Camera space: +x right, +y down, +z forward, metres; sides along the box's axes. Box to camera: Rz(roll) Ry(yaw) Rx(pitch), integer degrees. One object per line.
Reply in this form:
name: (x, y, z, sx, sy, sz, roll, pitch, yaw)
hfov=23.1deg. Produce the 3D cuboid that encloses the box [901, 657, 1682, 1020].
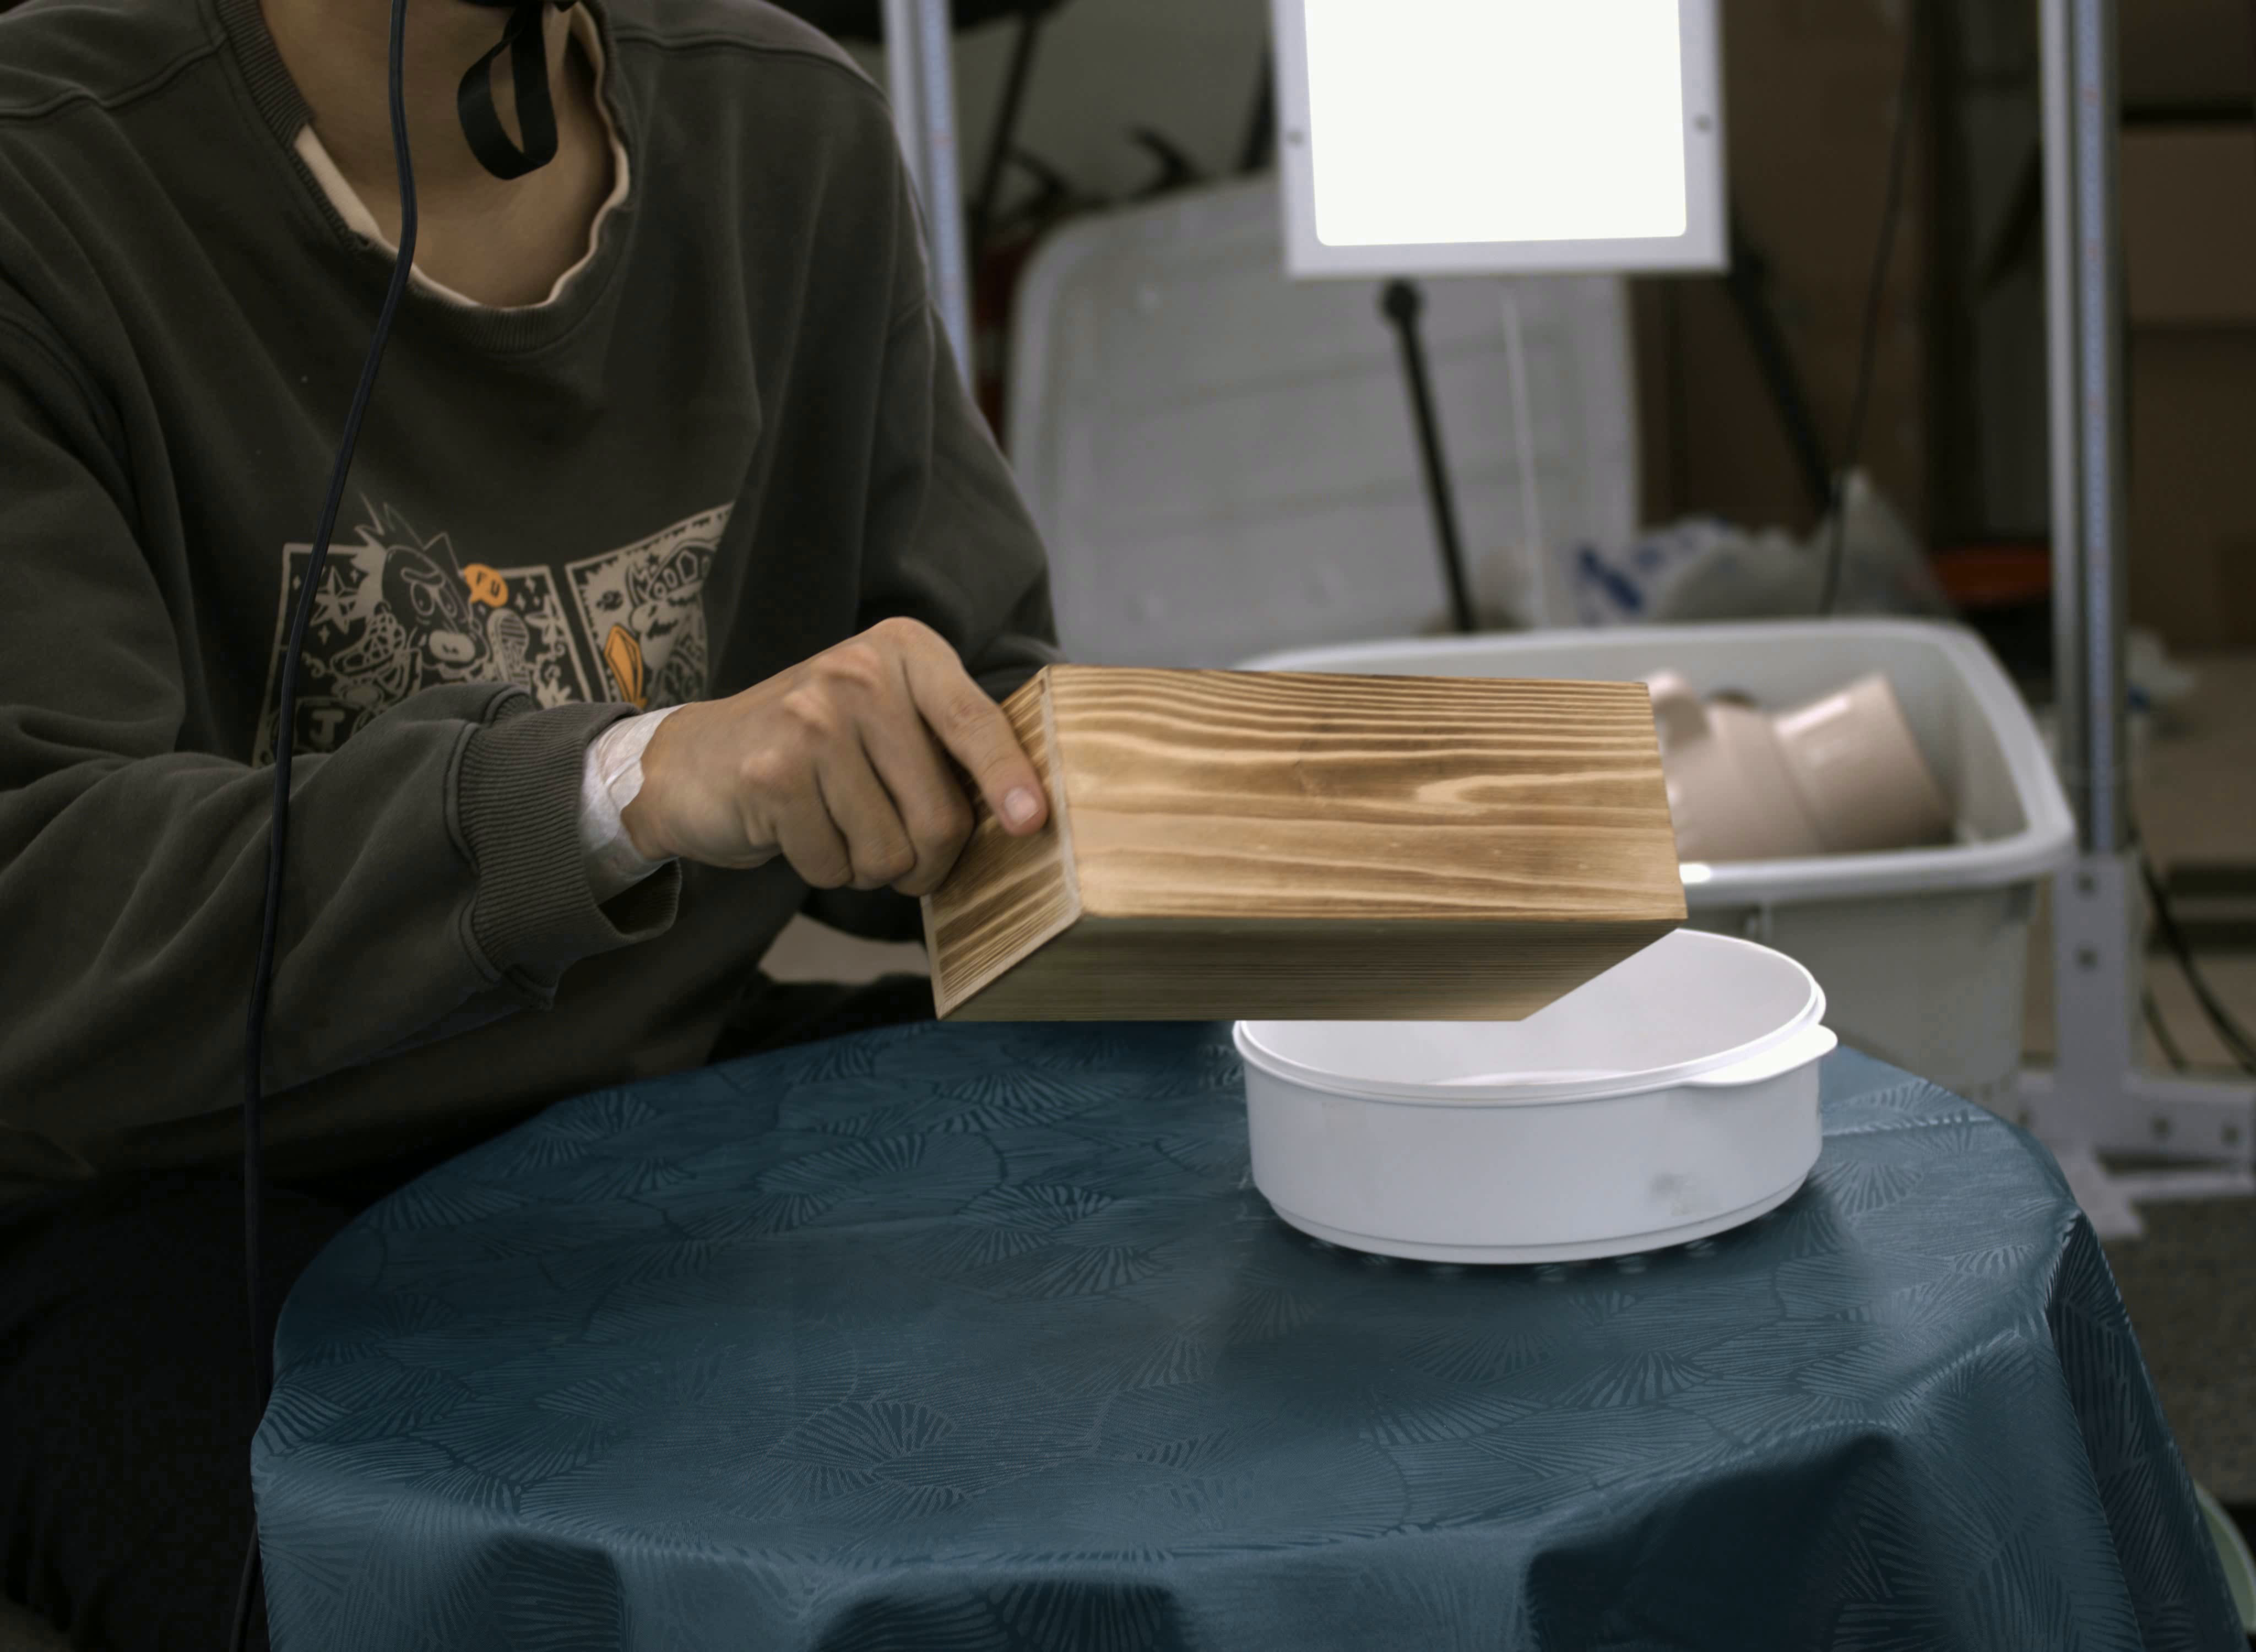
box: (0.050, 0.006, 1.701, 0.207, 0.080, 0.109, 1, -20, -25)

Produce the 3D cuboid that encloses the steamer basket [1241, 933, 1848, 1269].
steamer basket: (0.141, 0.092, 1.849, 0.197, 0.069, 0.235, -19, 17, -42)
